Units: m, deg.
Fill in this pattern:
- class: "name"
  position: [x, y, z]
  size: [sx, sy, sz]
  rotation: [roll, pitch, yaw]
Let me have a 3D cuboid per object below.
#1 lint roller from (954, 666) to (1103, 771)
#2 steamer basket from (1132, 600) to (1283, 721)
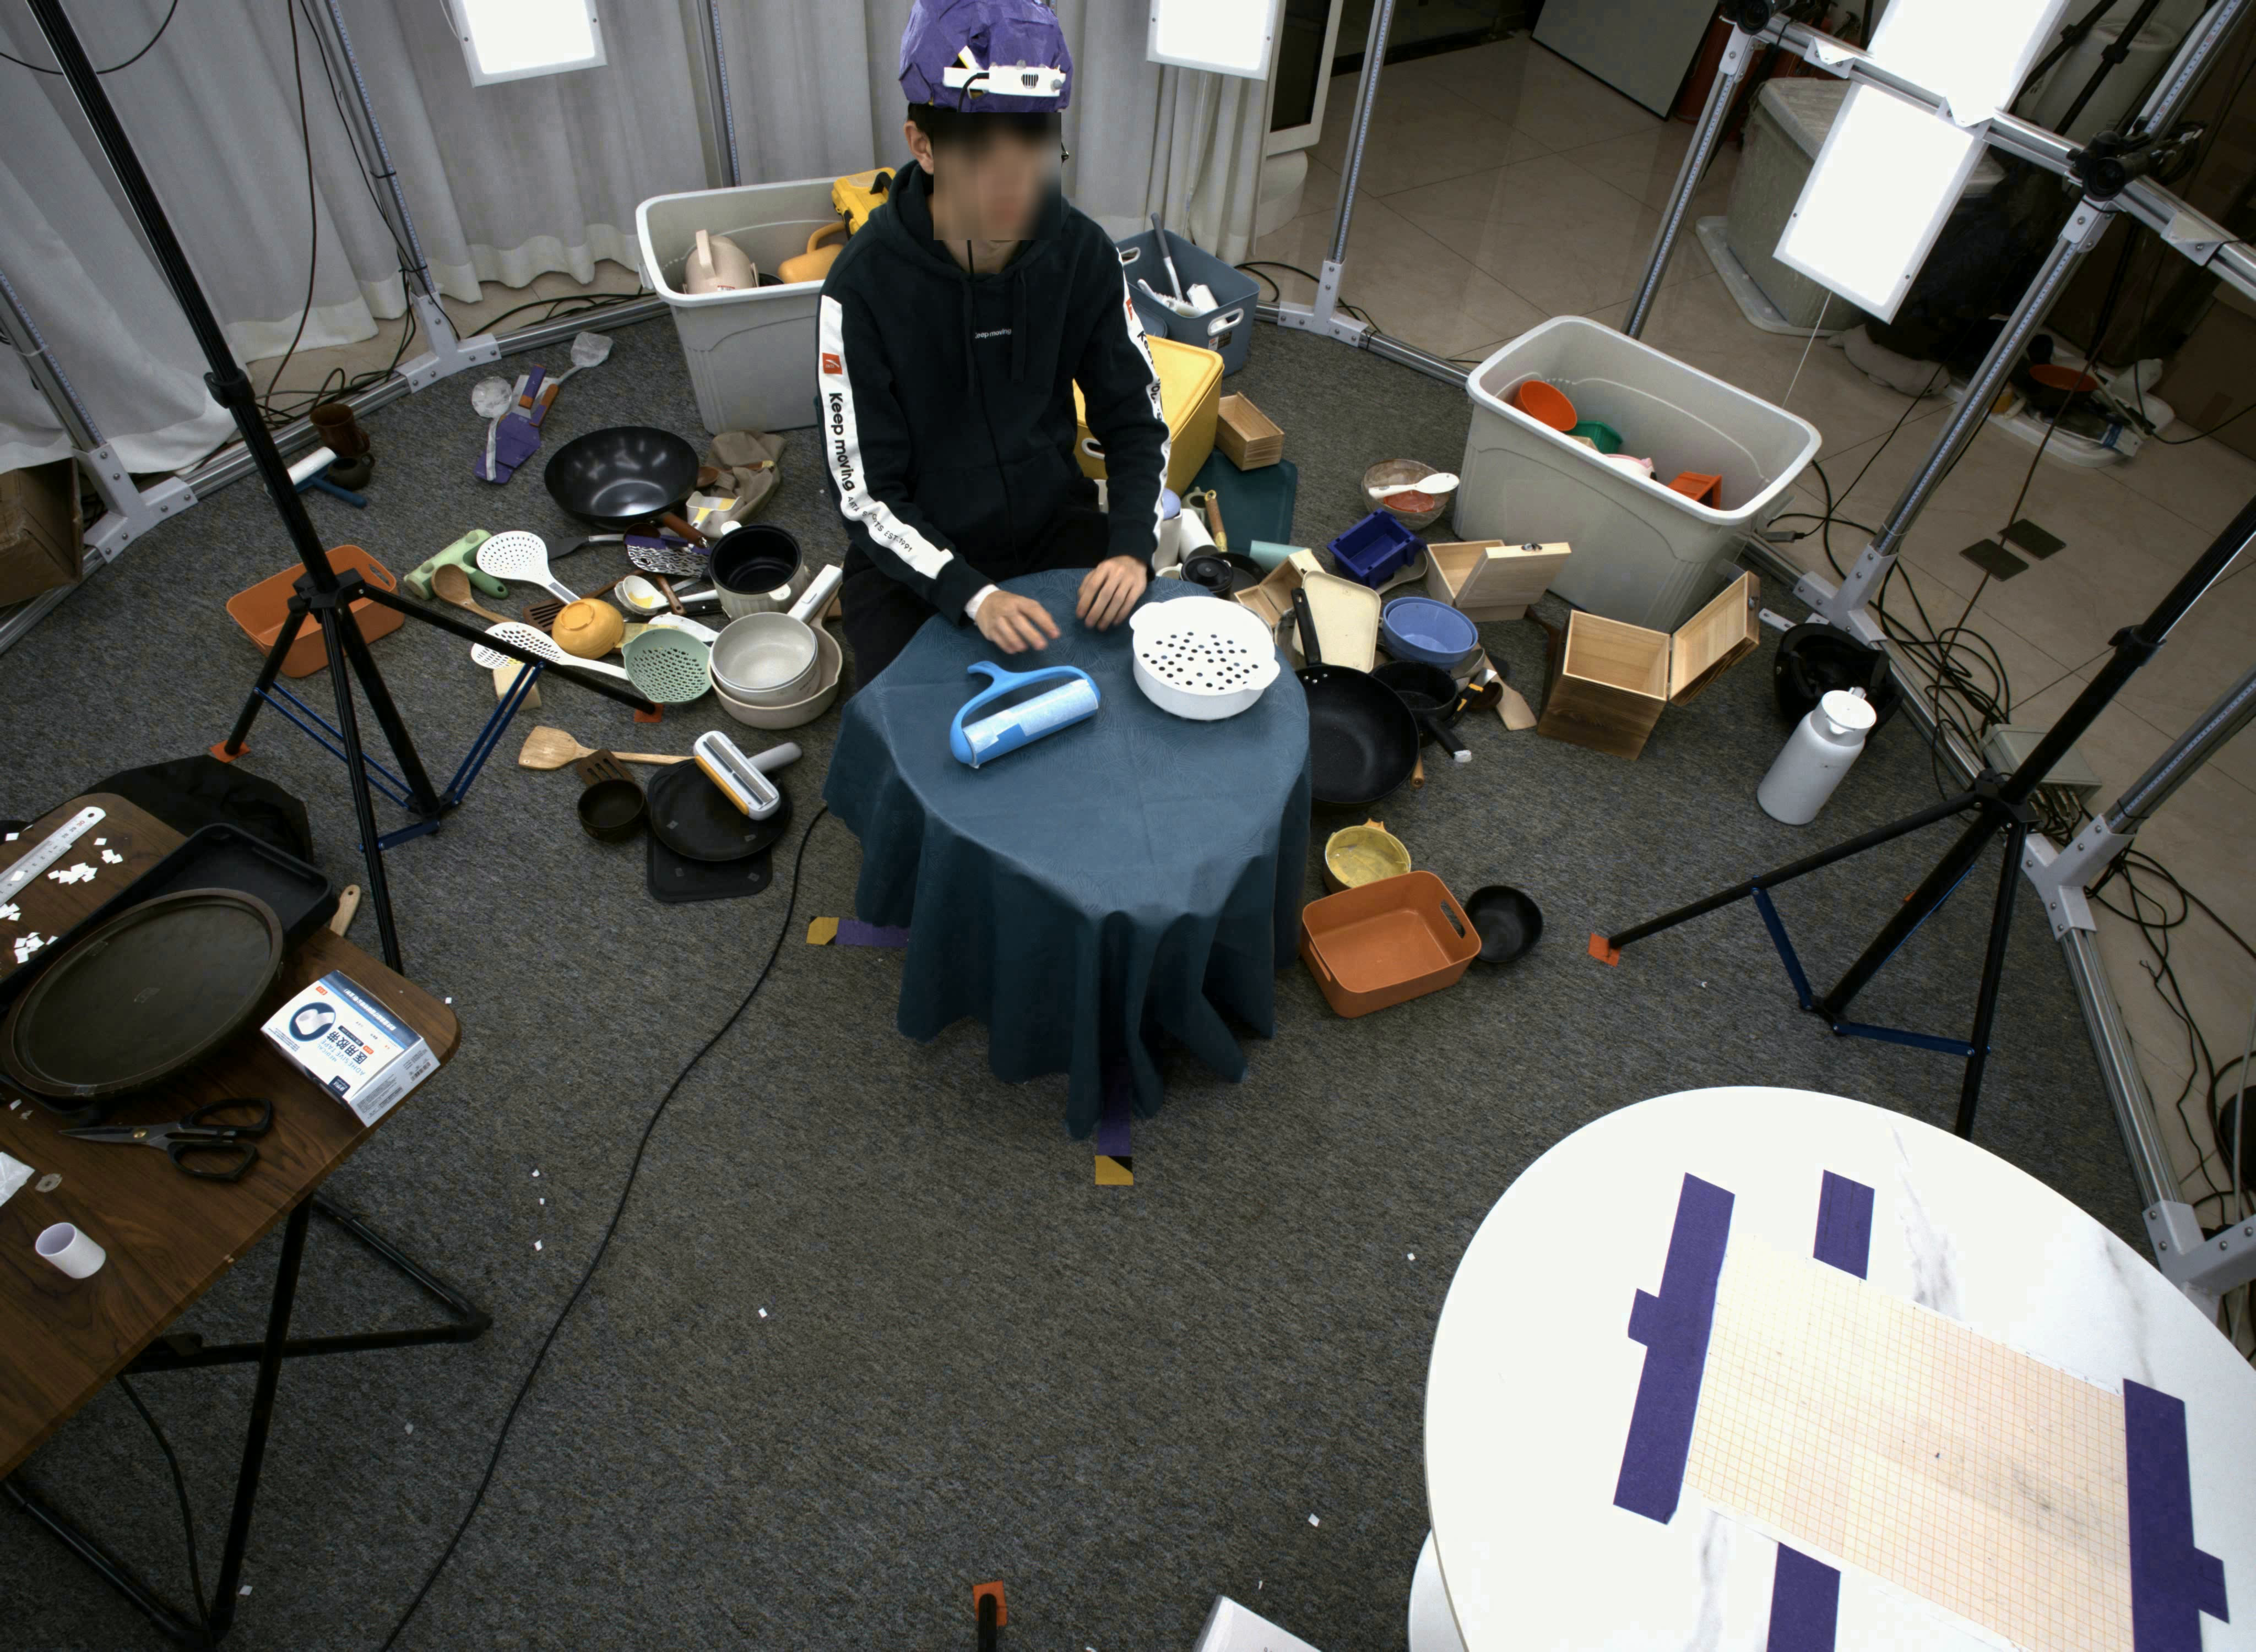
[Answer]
- class: "lint roller"
  position: [-0.169, -0.178, 1.776]
  size: [0.230, 0.066, 0.183]
  rotation: [-31, 59, -24]
- class: "steamer basket"
  position: [0.110, -0.236, 1.836]
  size: [0.233, 0.067, 0.204]
  rotation: [29, 52, 21]
